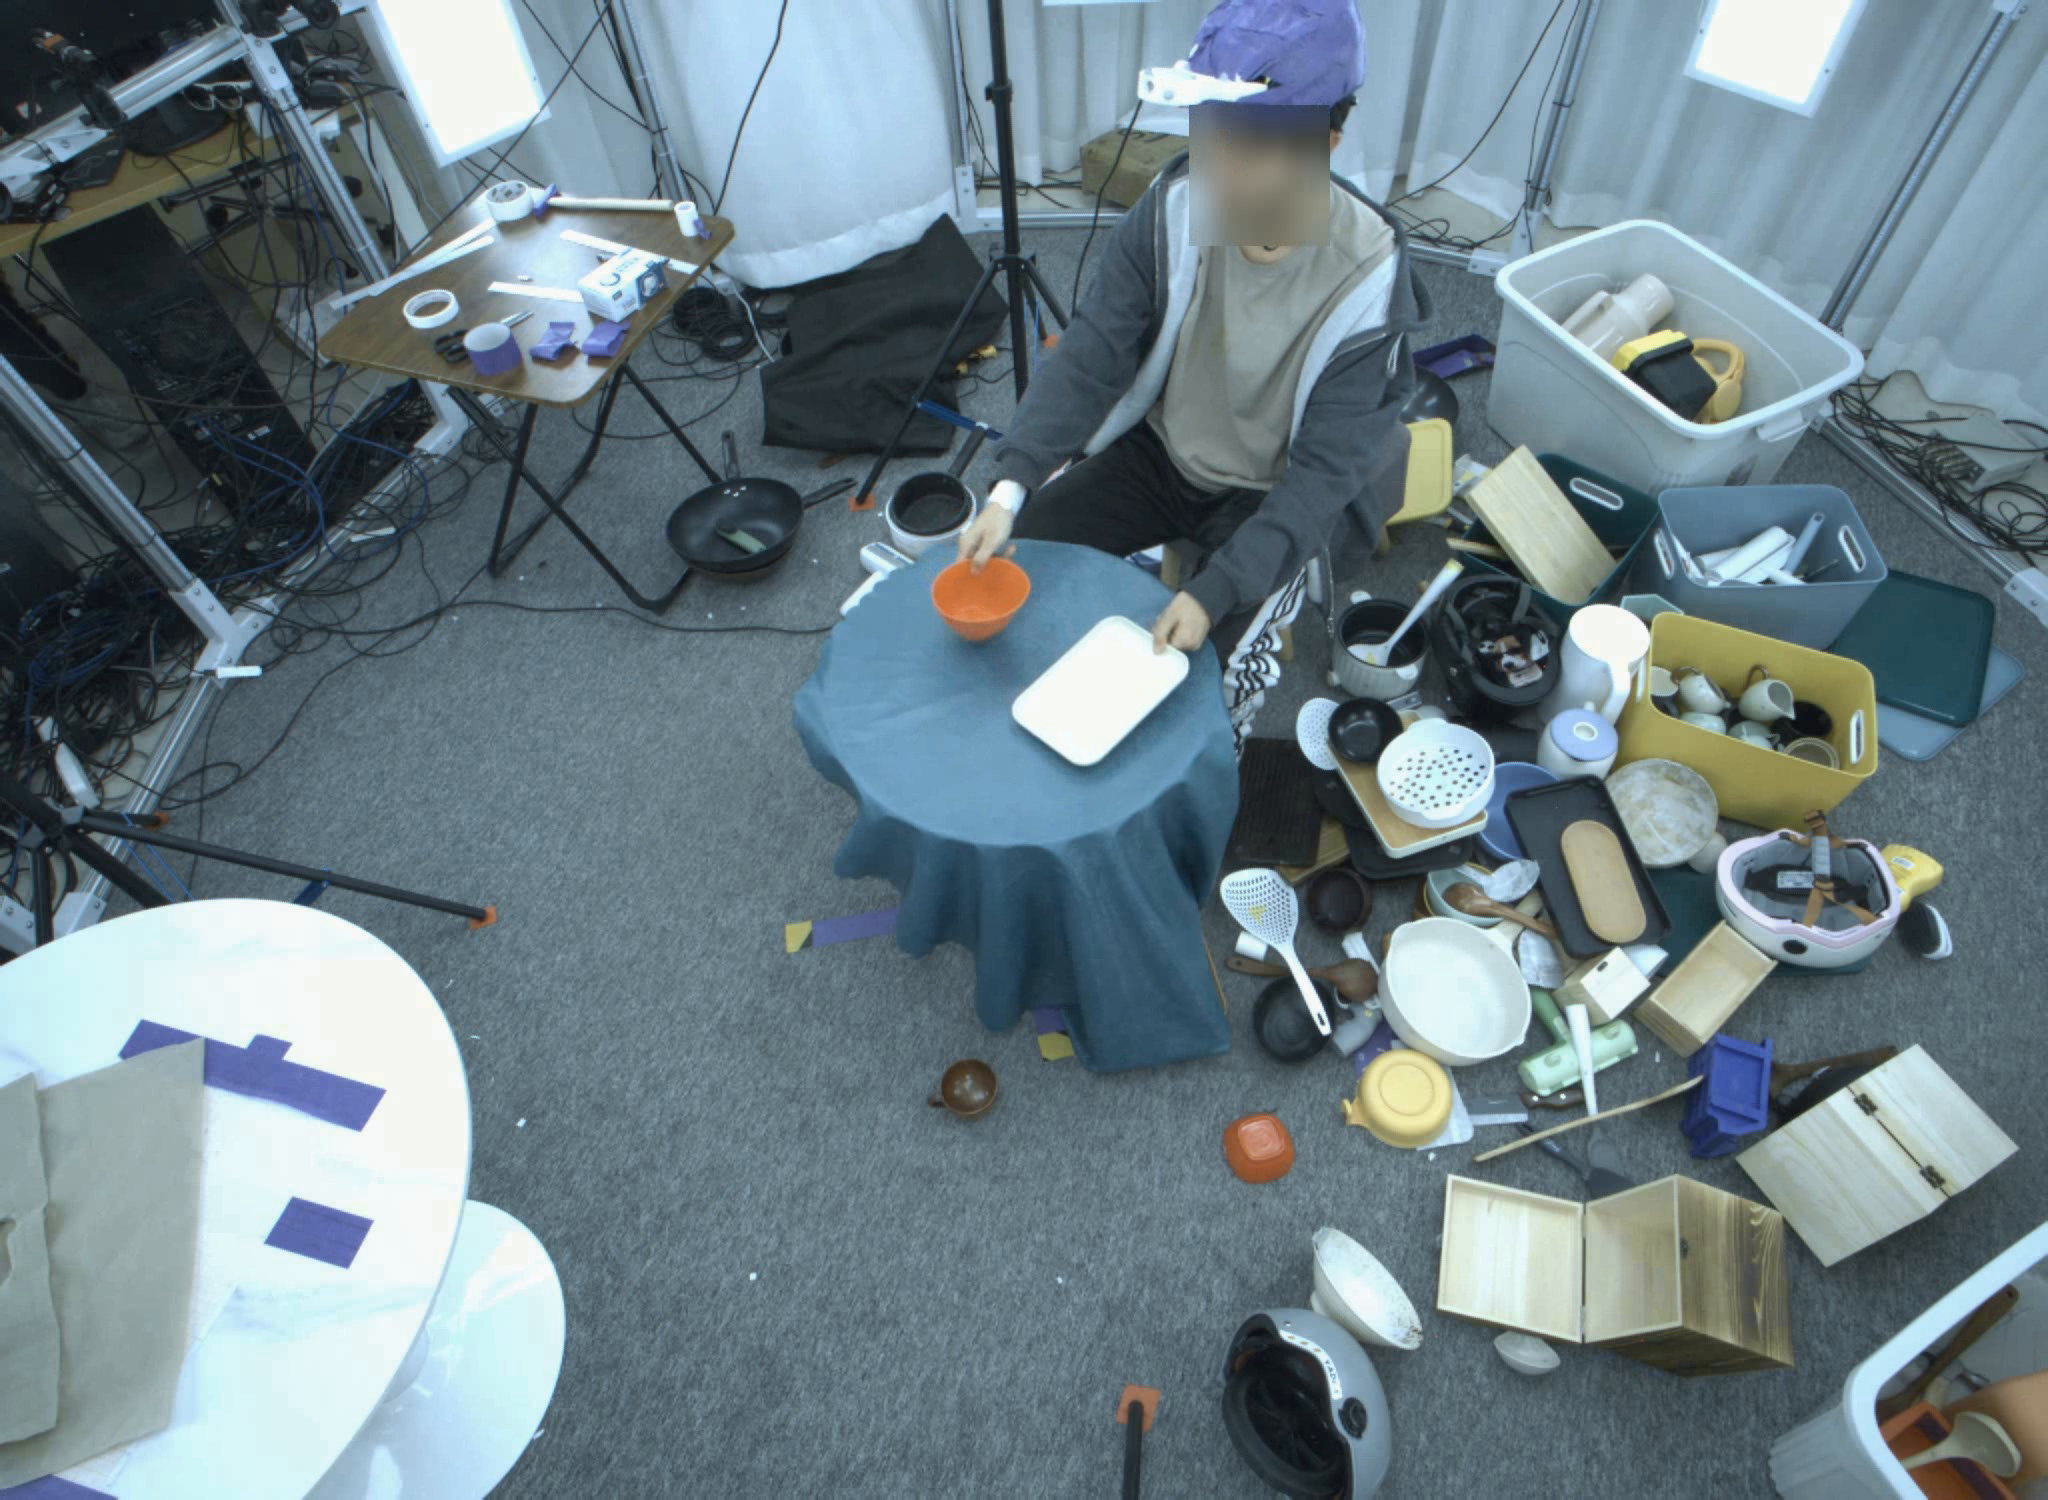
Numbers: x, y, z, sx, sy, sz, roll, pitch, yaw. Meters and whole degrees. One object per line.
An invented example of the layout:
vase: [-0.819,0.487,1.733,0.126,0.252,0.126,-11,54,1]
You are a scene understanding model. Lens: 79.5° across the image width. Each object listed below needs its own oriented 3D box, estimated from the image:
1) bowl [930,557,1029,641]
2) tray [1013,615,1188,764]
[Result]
bowl: [-0.070,-0.216,1.856,0.148,0.105,0.146,3,55,-3]
tray: [0.113,-0.090,1.809,0.168,0.018,0.241,37,70,28]
